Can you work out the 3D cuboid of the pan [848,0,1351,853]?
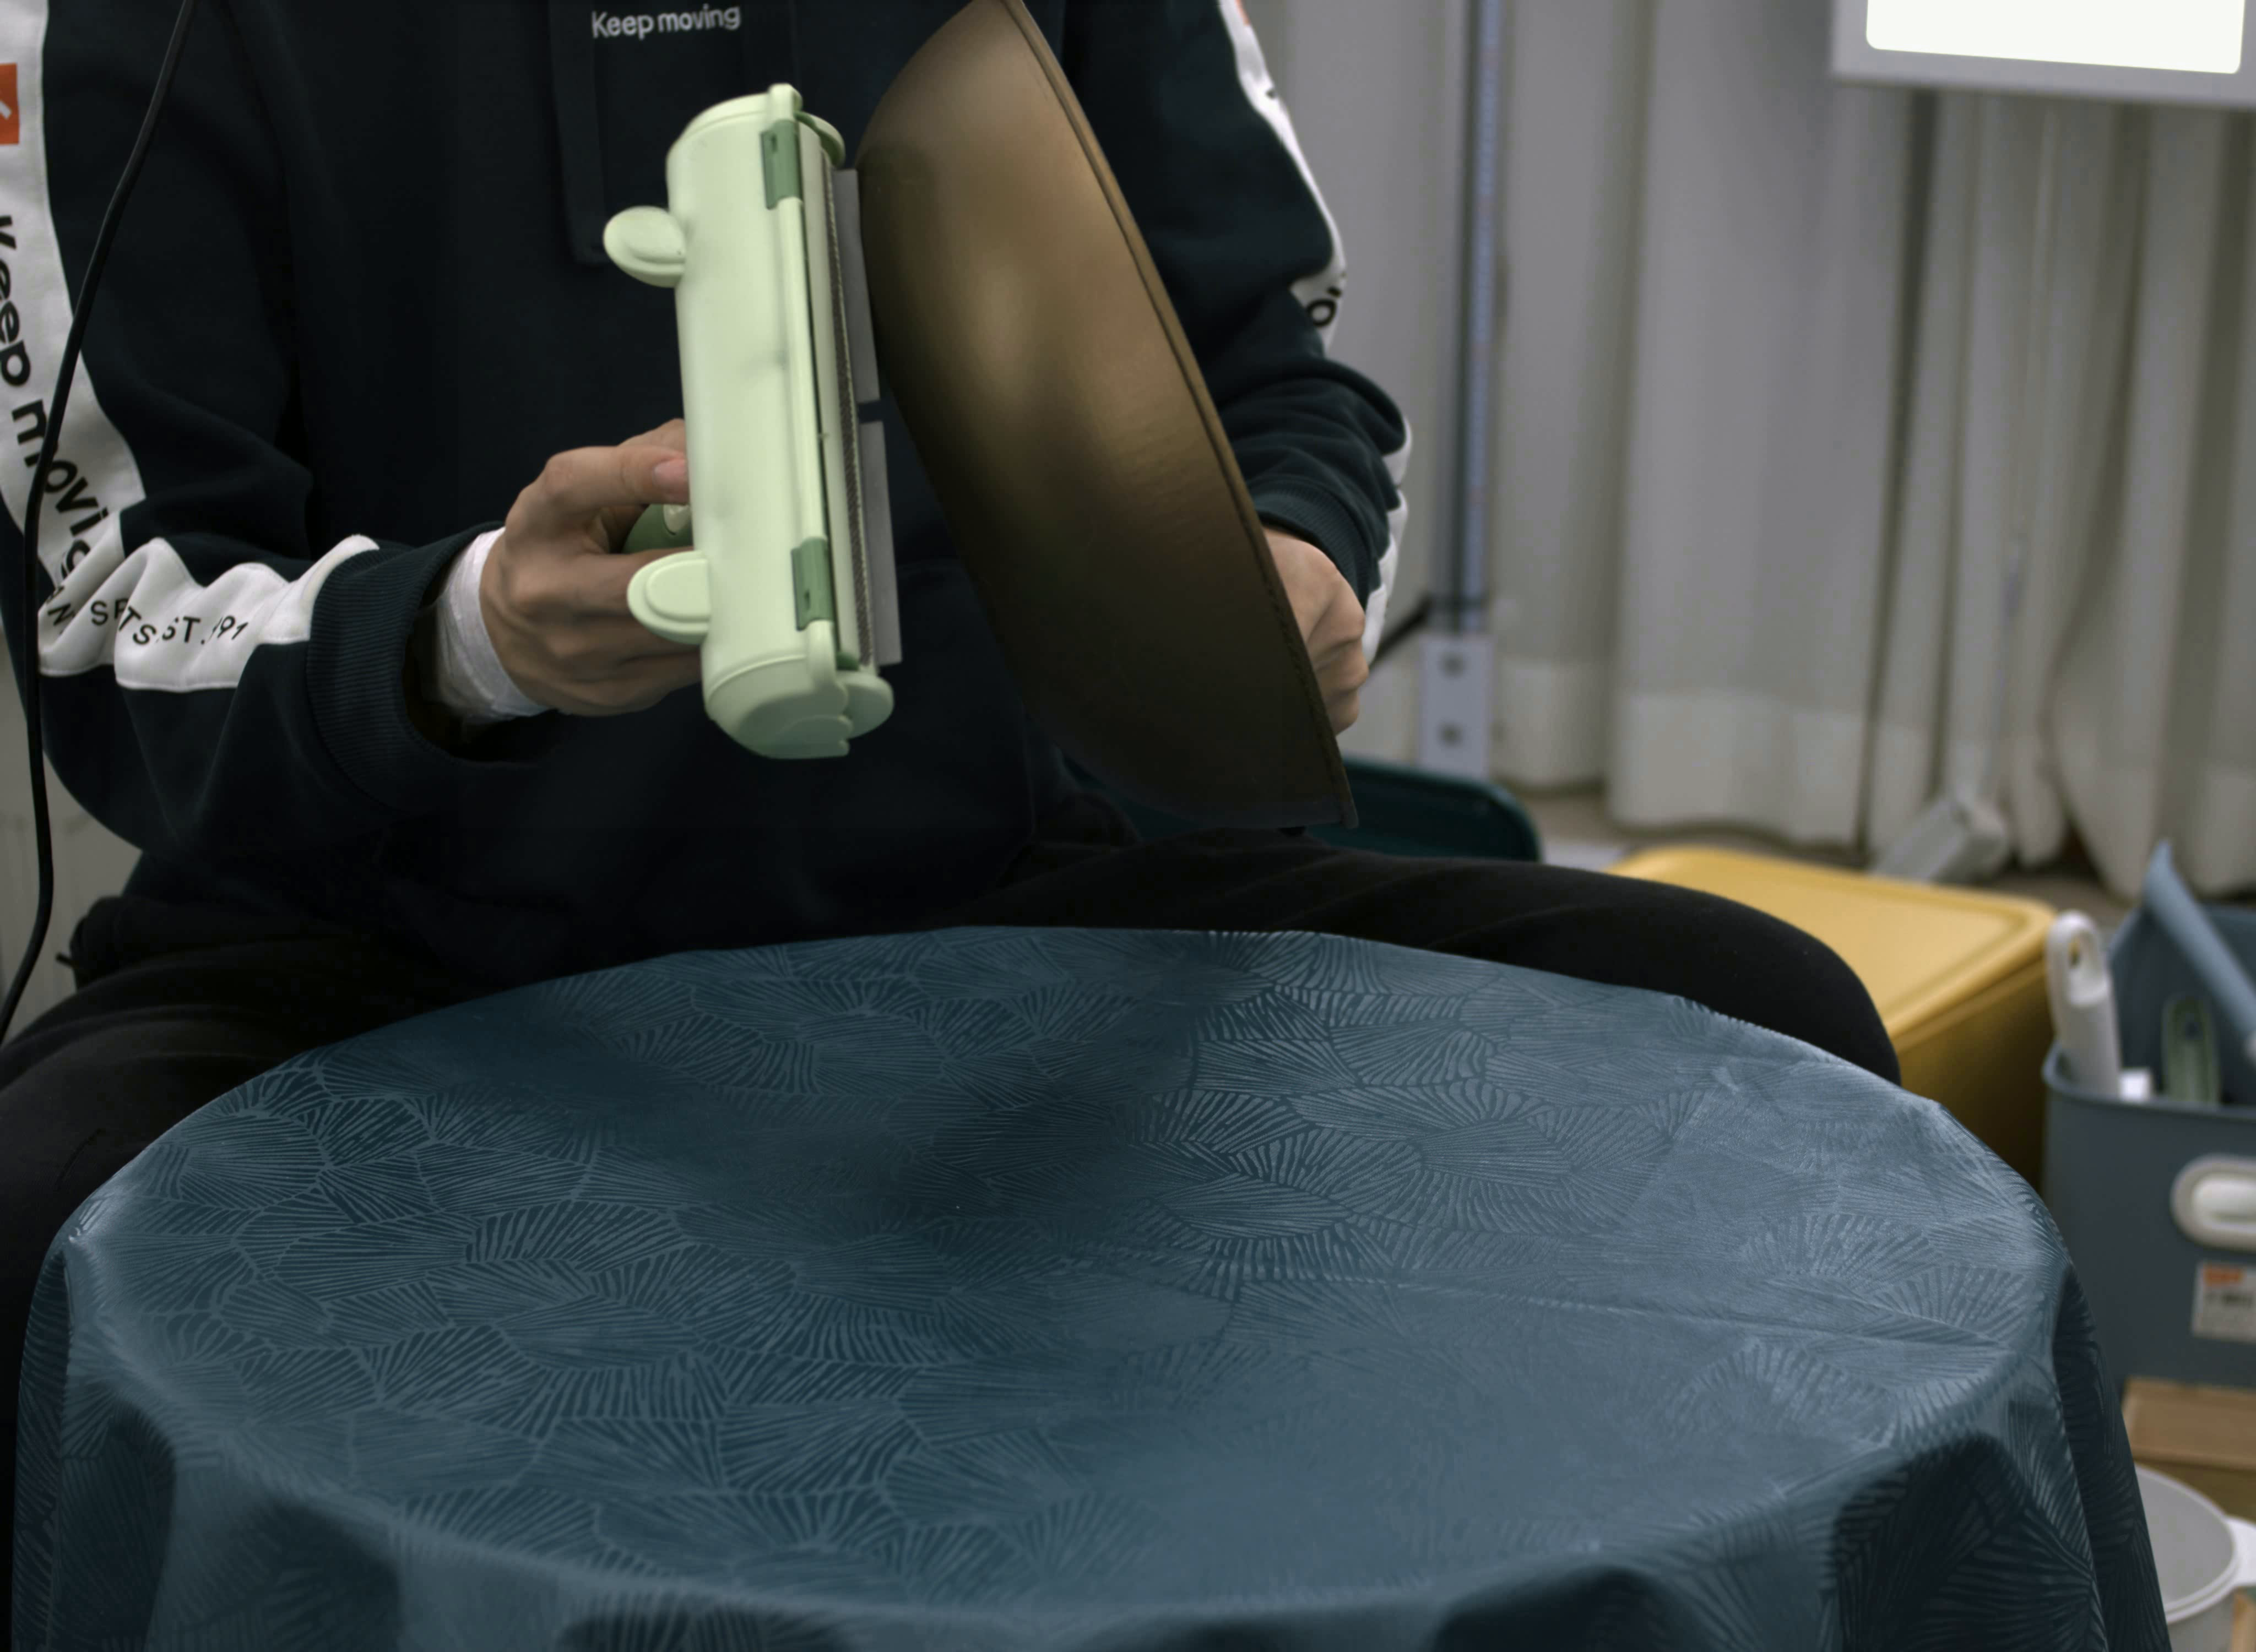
[{"bbox_3d":[-0.007,-0.082,1.683,0.086,0.286,0.468,-22,-23,-1],"label":"pan"}]

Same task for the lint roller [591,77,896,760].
[{"bbox_3d":[-0.138,-0.099,1.565,0.083,0.197,0.183,8,-26,-32],"label":"lint roller"}]
